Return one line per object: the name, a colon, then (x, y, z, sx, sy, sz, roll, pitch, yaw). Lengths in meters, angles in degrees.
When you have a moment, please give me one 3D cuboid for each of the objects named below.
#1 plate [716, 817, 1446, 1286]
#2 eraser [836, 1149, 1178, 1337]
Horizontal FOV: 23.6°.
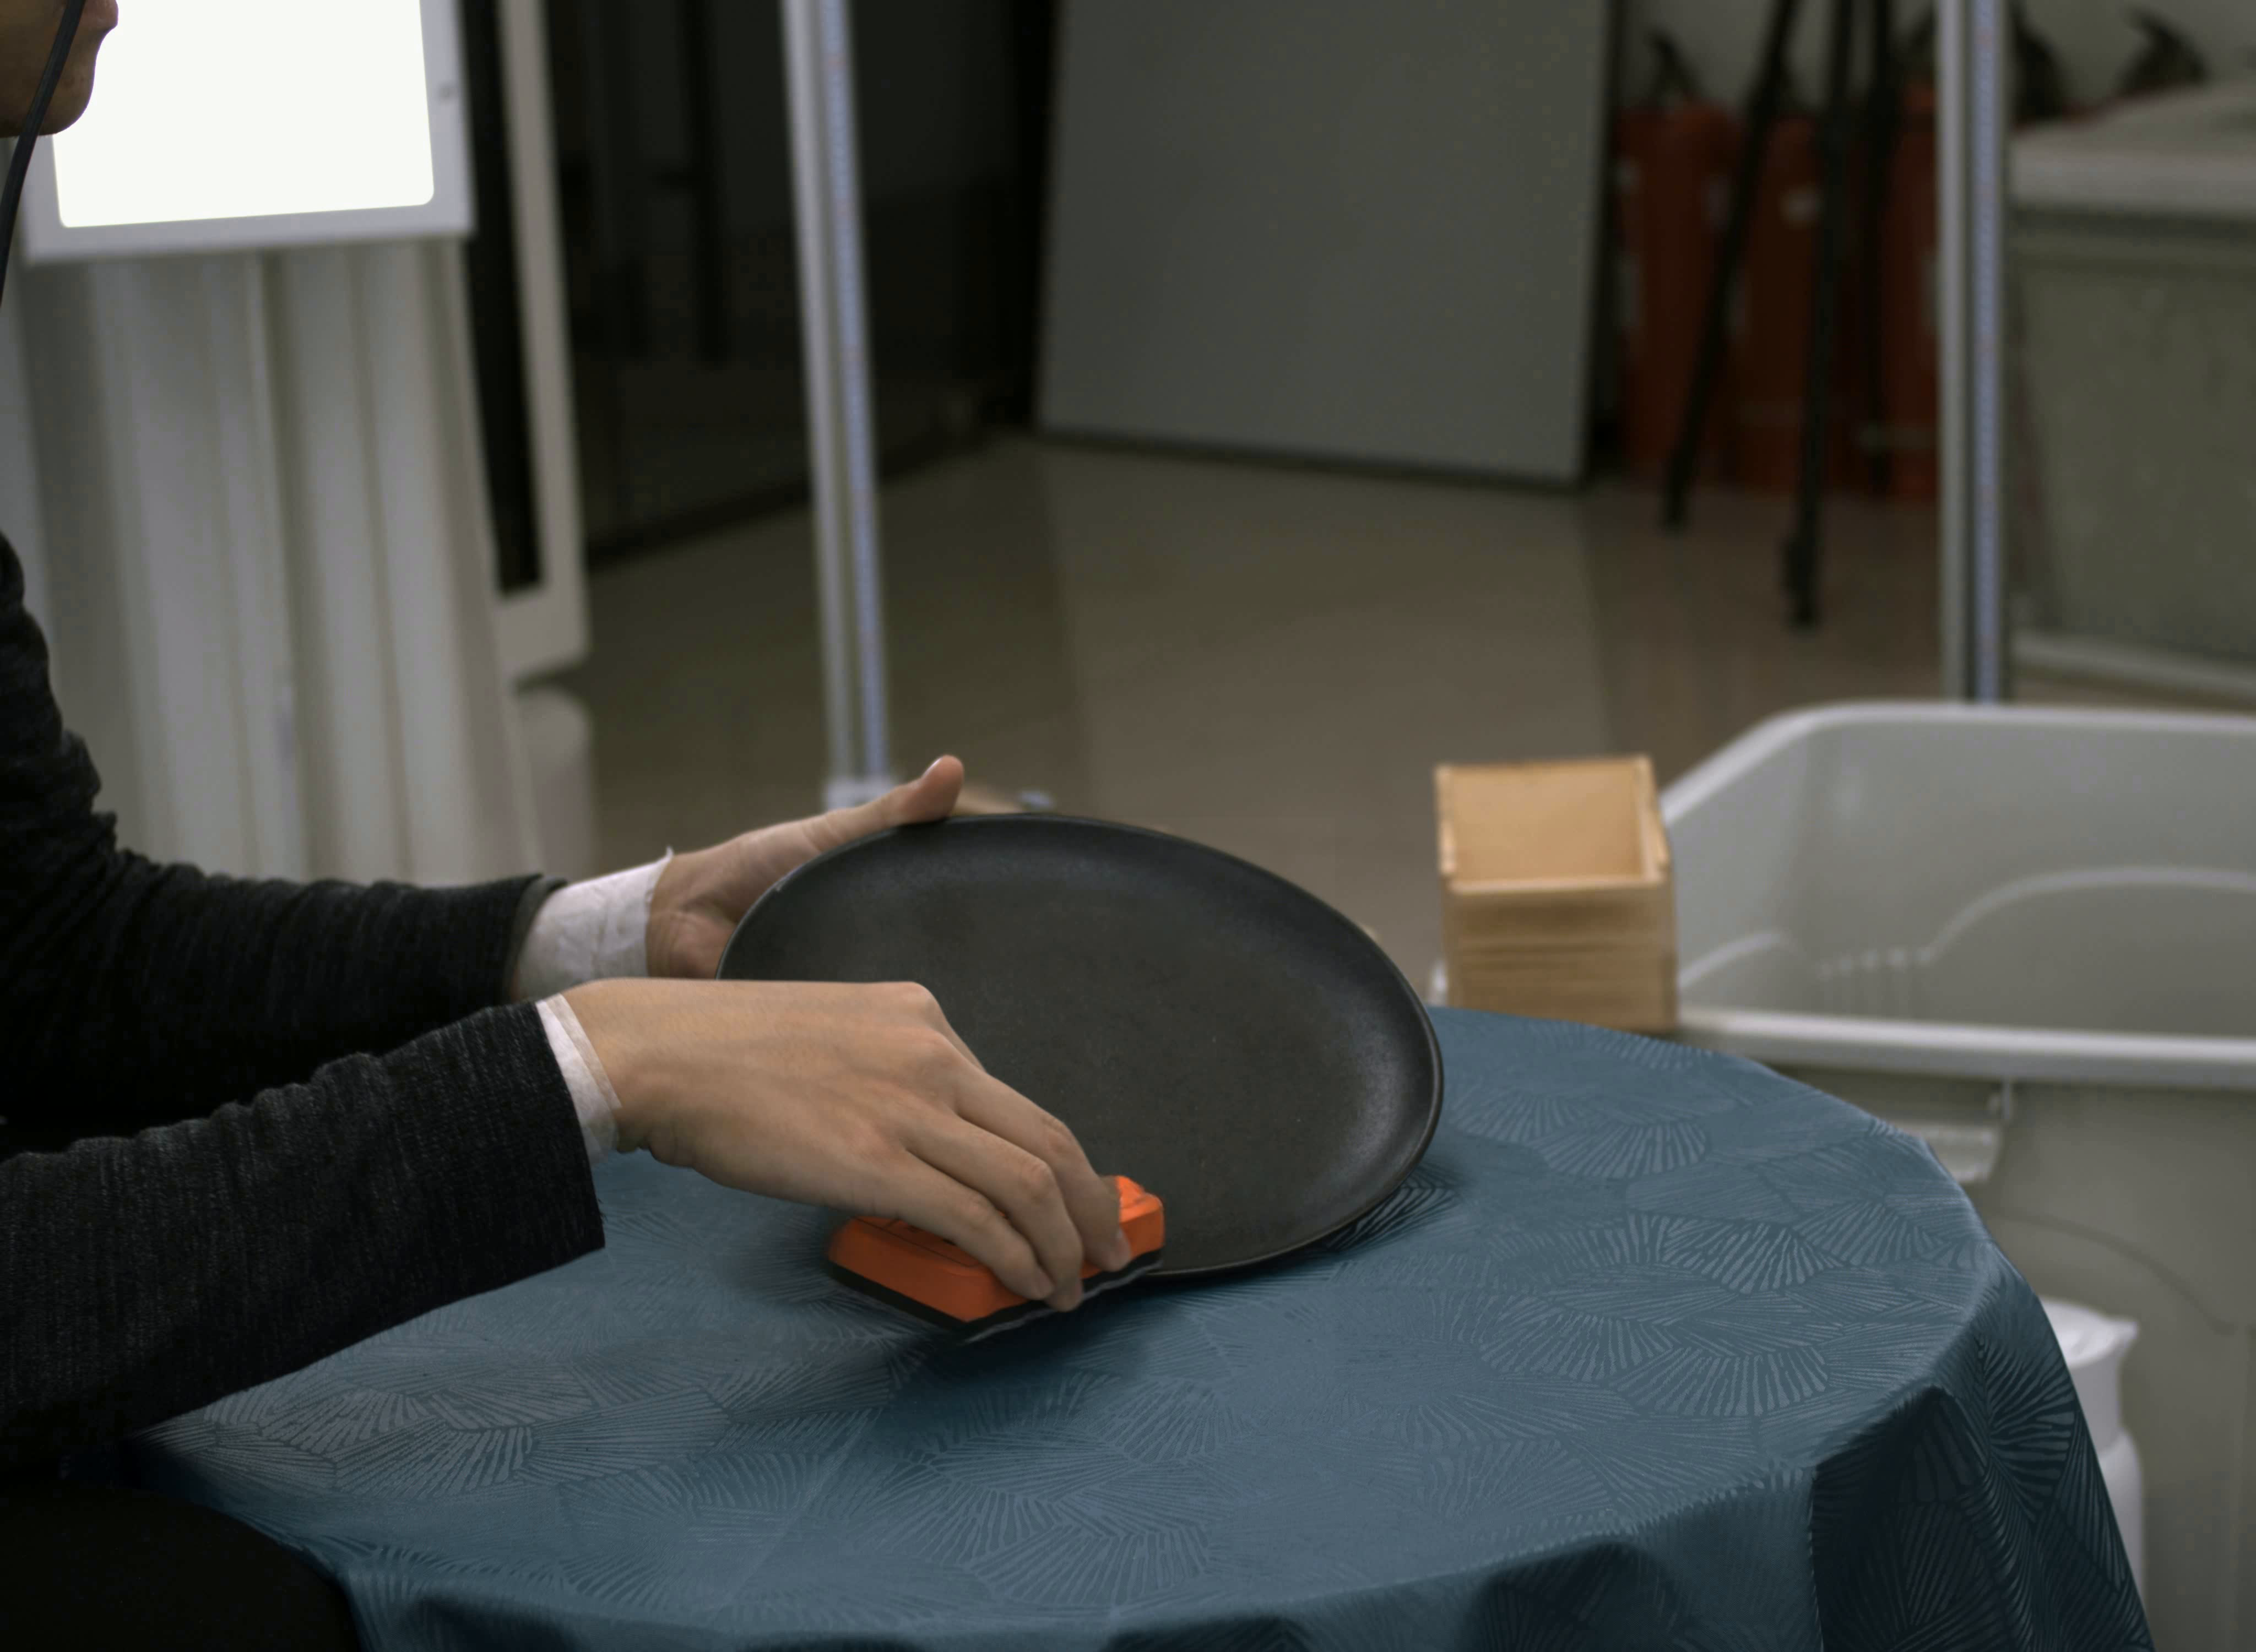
plate: (-0.015, 0.076, 1.765, 0.241, 0.023, 0.246, 5, 35, -4)
eraser: (-0.036, 0.126, 1.645, 0.059, 0.023, 0.106, 18, 20, 36)
